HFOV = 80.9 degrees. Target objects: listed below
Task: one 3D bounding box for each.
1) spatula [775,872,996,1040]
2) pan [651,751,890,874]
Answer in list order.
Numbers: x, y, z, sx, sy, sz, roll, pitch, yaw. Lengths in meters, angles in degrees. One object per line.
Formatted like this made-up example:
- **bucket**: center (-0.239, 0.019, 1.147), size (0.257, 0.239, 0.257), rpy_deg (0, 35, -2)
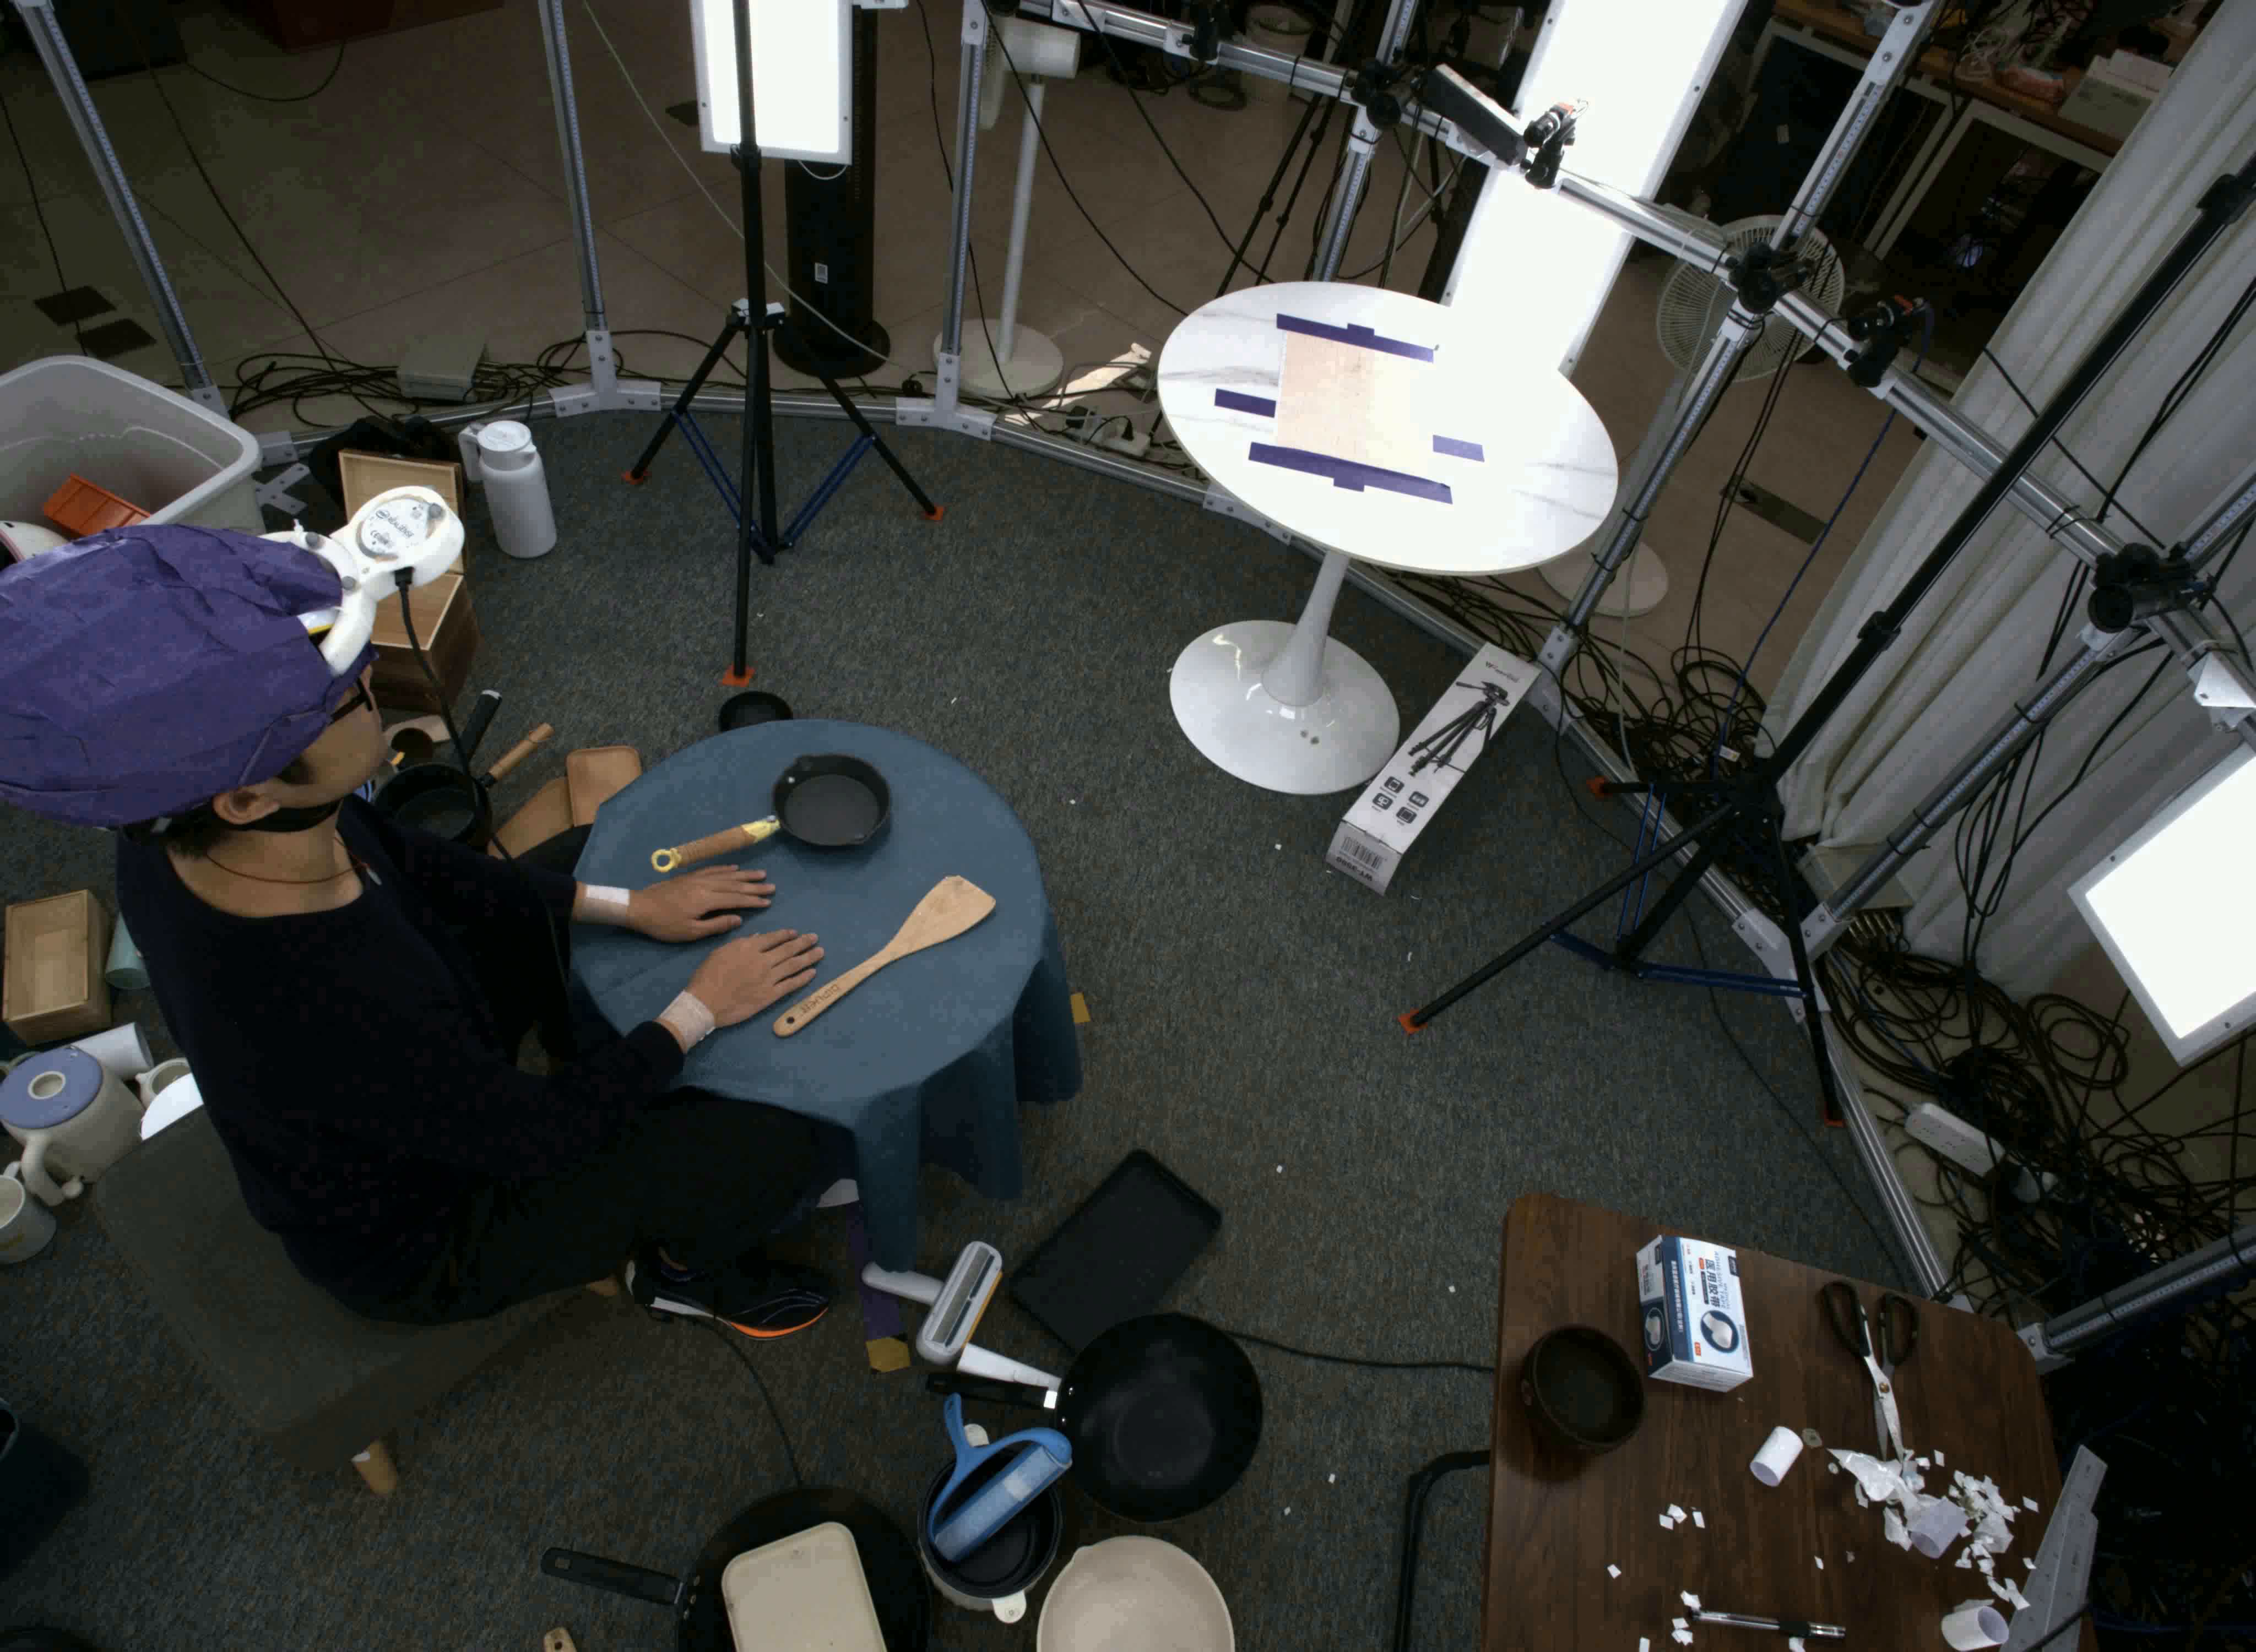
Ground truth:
- **spatula**: center (-0.305, 0.159, 1.616), size (0.078, 0.017, 0.328), rpy_deg (41, 54, 17)
- **pan**: center (-0.462, -0.004, 1.674), size (0.326, 0.050, 0.165), rpy_deg (-24, 63, -30)
